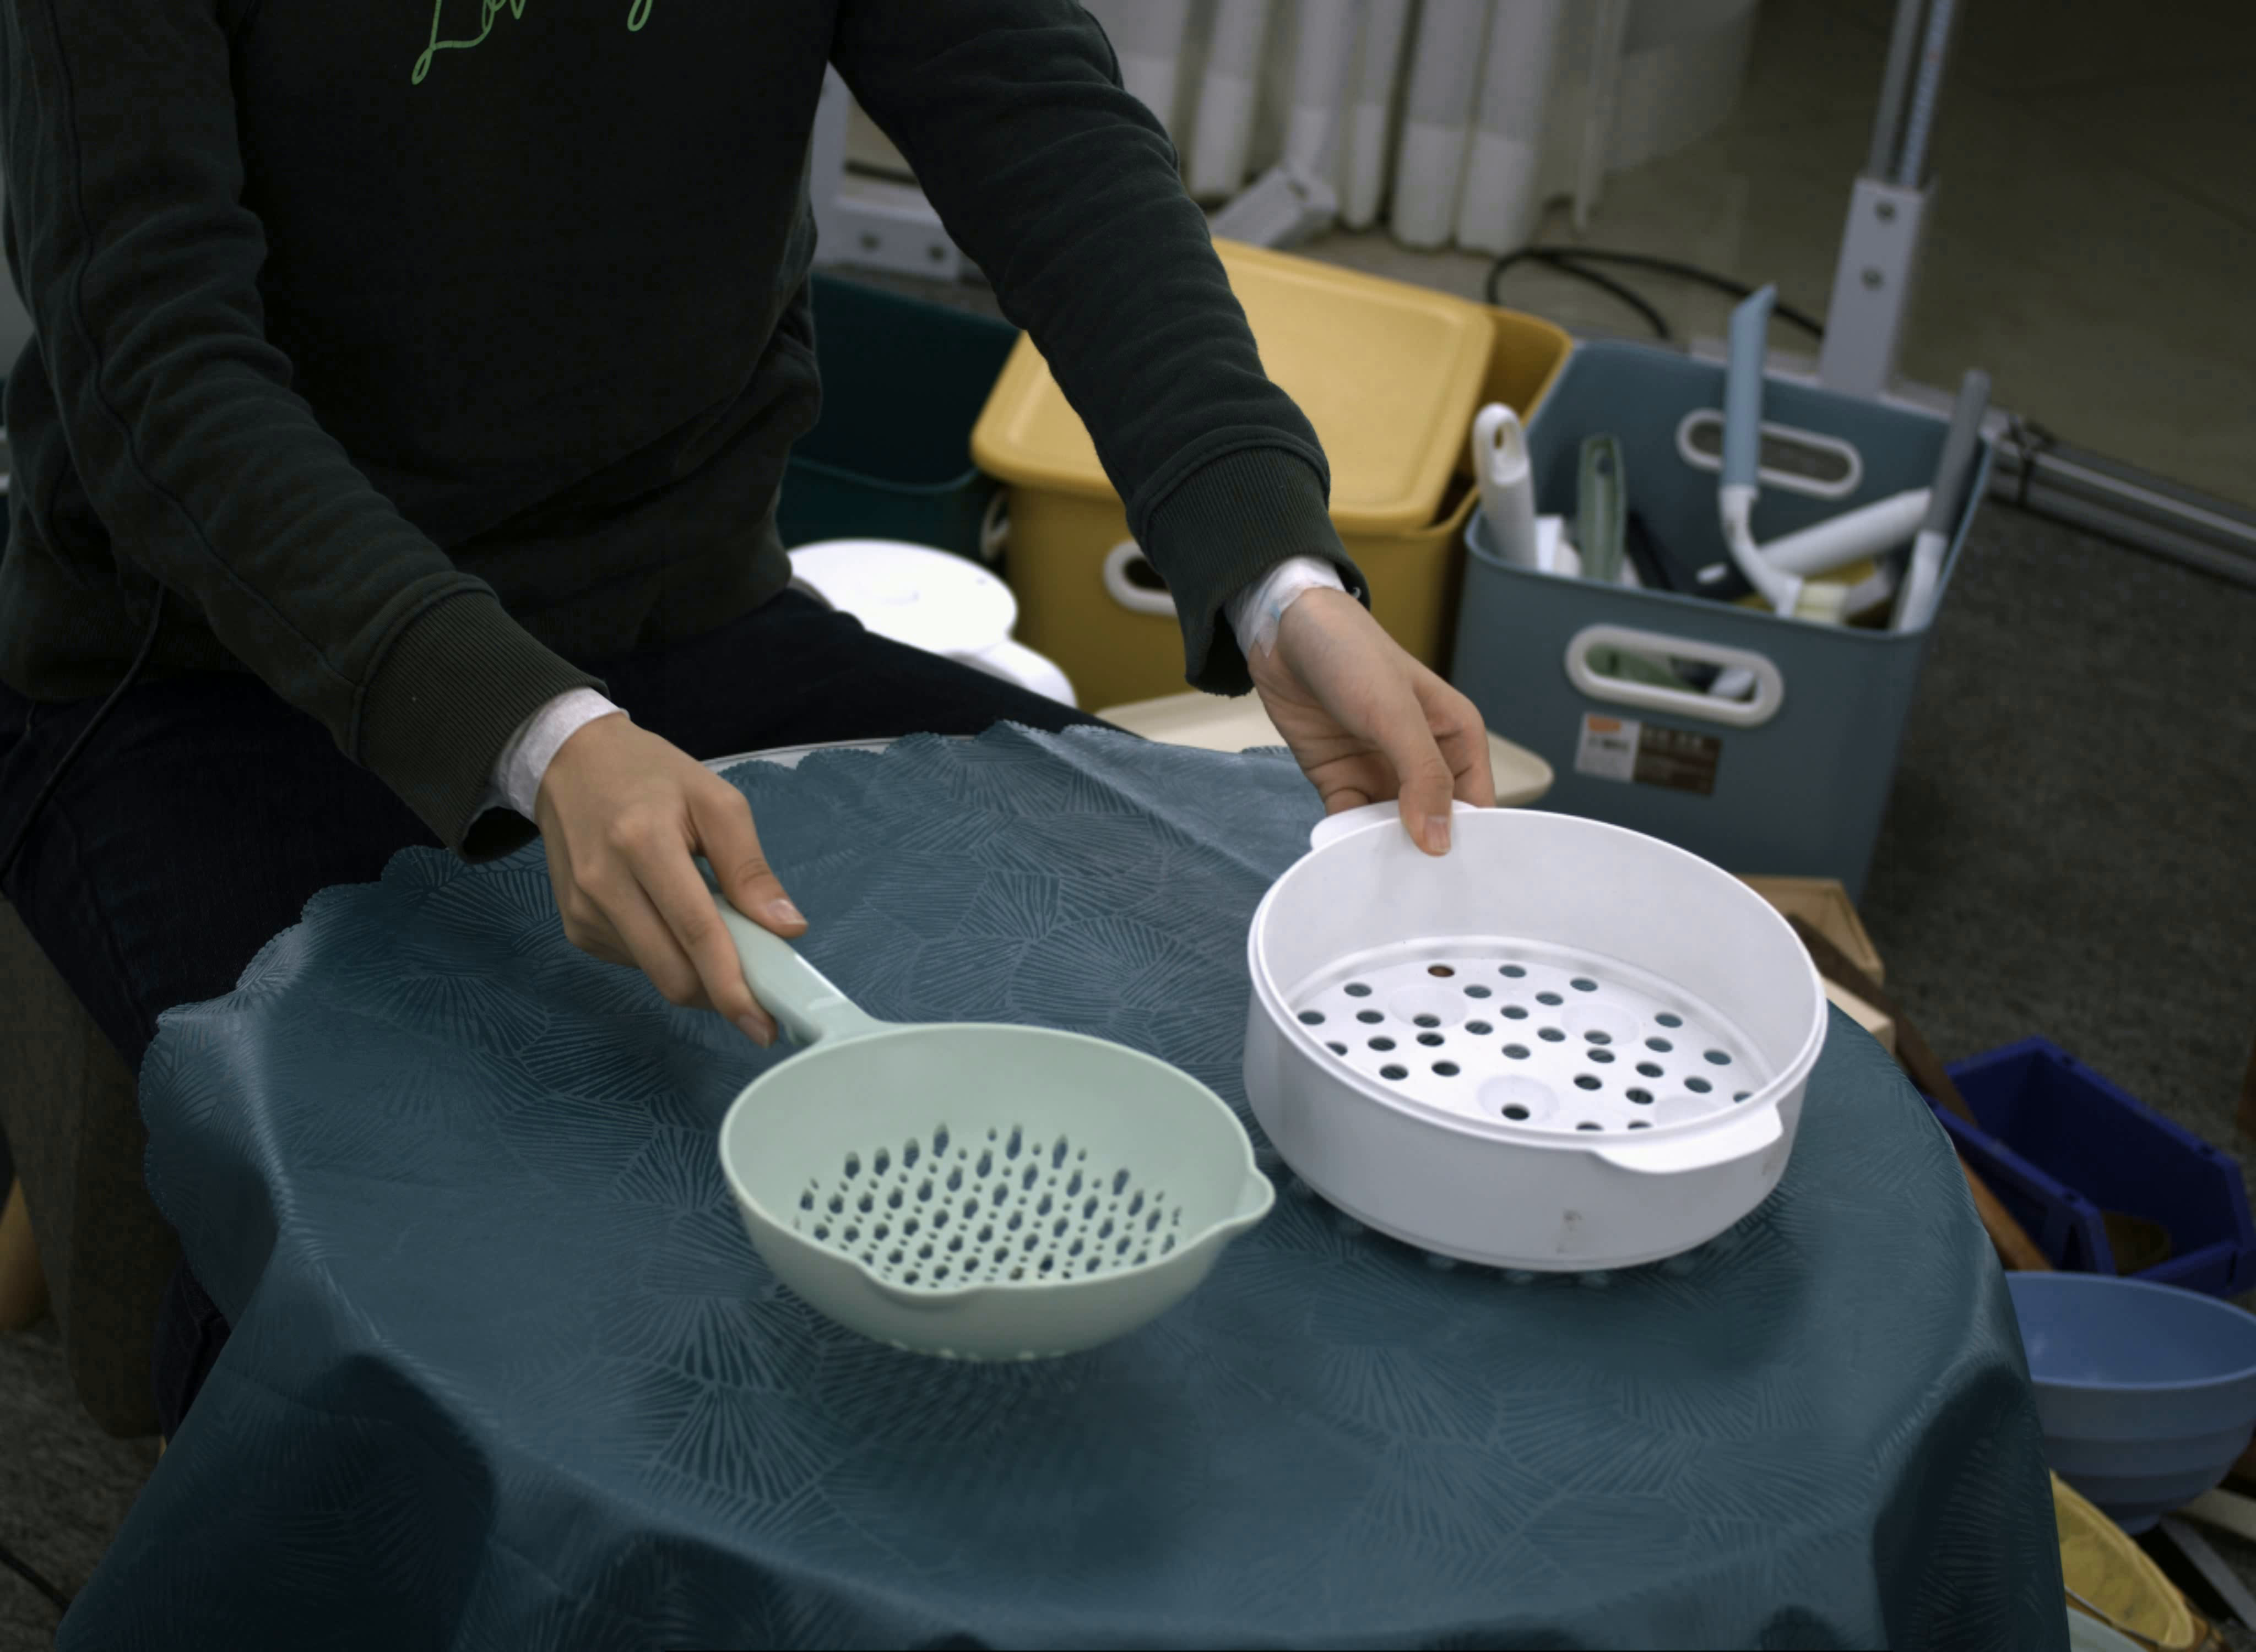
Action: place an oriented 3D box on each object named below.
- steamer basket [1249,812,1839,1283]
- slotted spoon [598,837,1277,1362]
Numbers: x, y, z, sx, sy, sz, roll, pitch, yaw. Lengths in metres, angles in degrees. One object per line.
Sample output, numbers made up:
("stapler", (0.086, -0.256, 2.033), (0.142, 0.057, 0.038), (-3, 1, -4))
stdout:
("steamer basket", (0.140, 0.078, 1.830), (0.200, 0.069, 0.233), (-11, 35, -27))
("slotted spoon", (-0.094, 0.073, 1.750), (0.168, 0.075, 0.362), (-10, 36, -28))
